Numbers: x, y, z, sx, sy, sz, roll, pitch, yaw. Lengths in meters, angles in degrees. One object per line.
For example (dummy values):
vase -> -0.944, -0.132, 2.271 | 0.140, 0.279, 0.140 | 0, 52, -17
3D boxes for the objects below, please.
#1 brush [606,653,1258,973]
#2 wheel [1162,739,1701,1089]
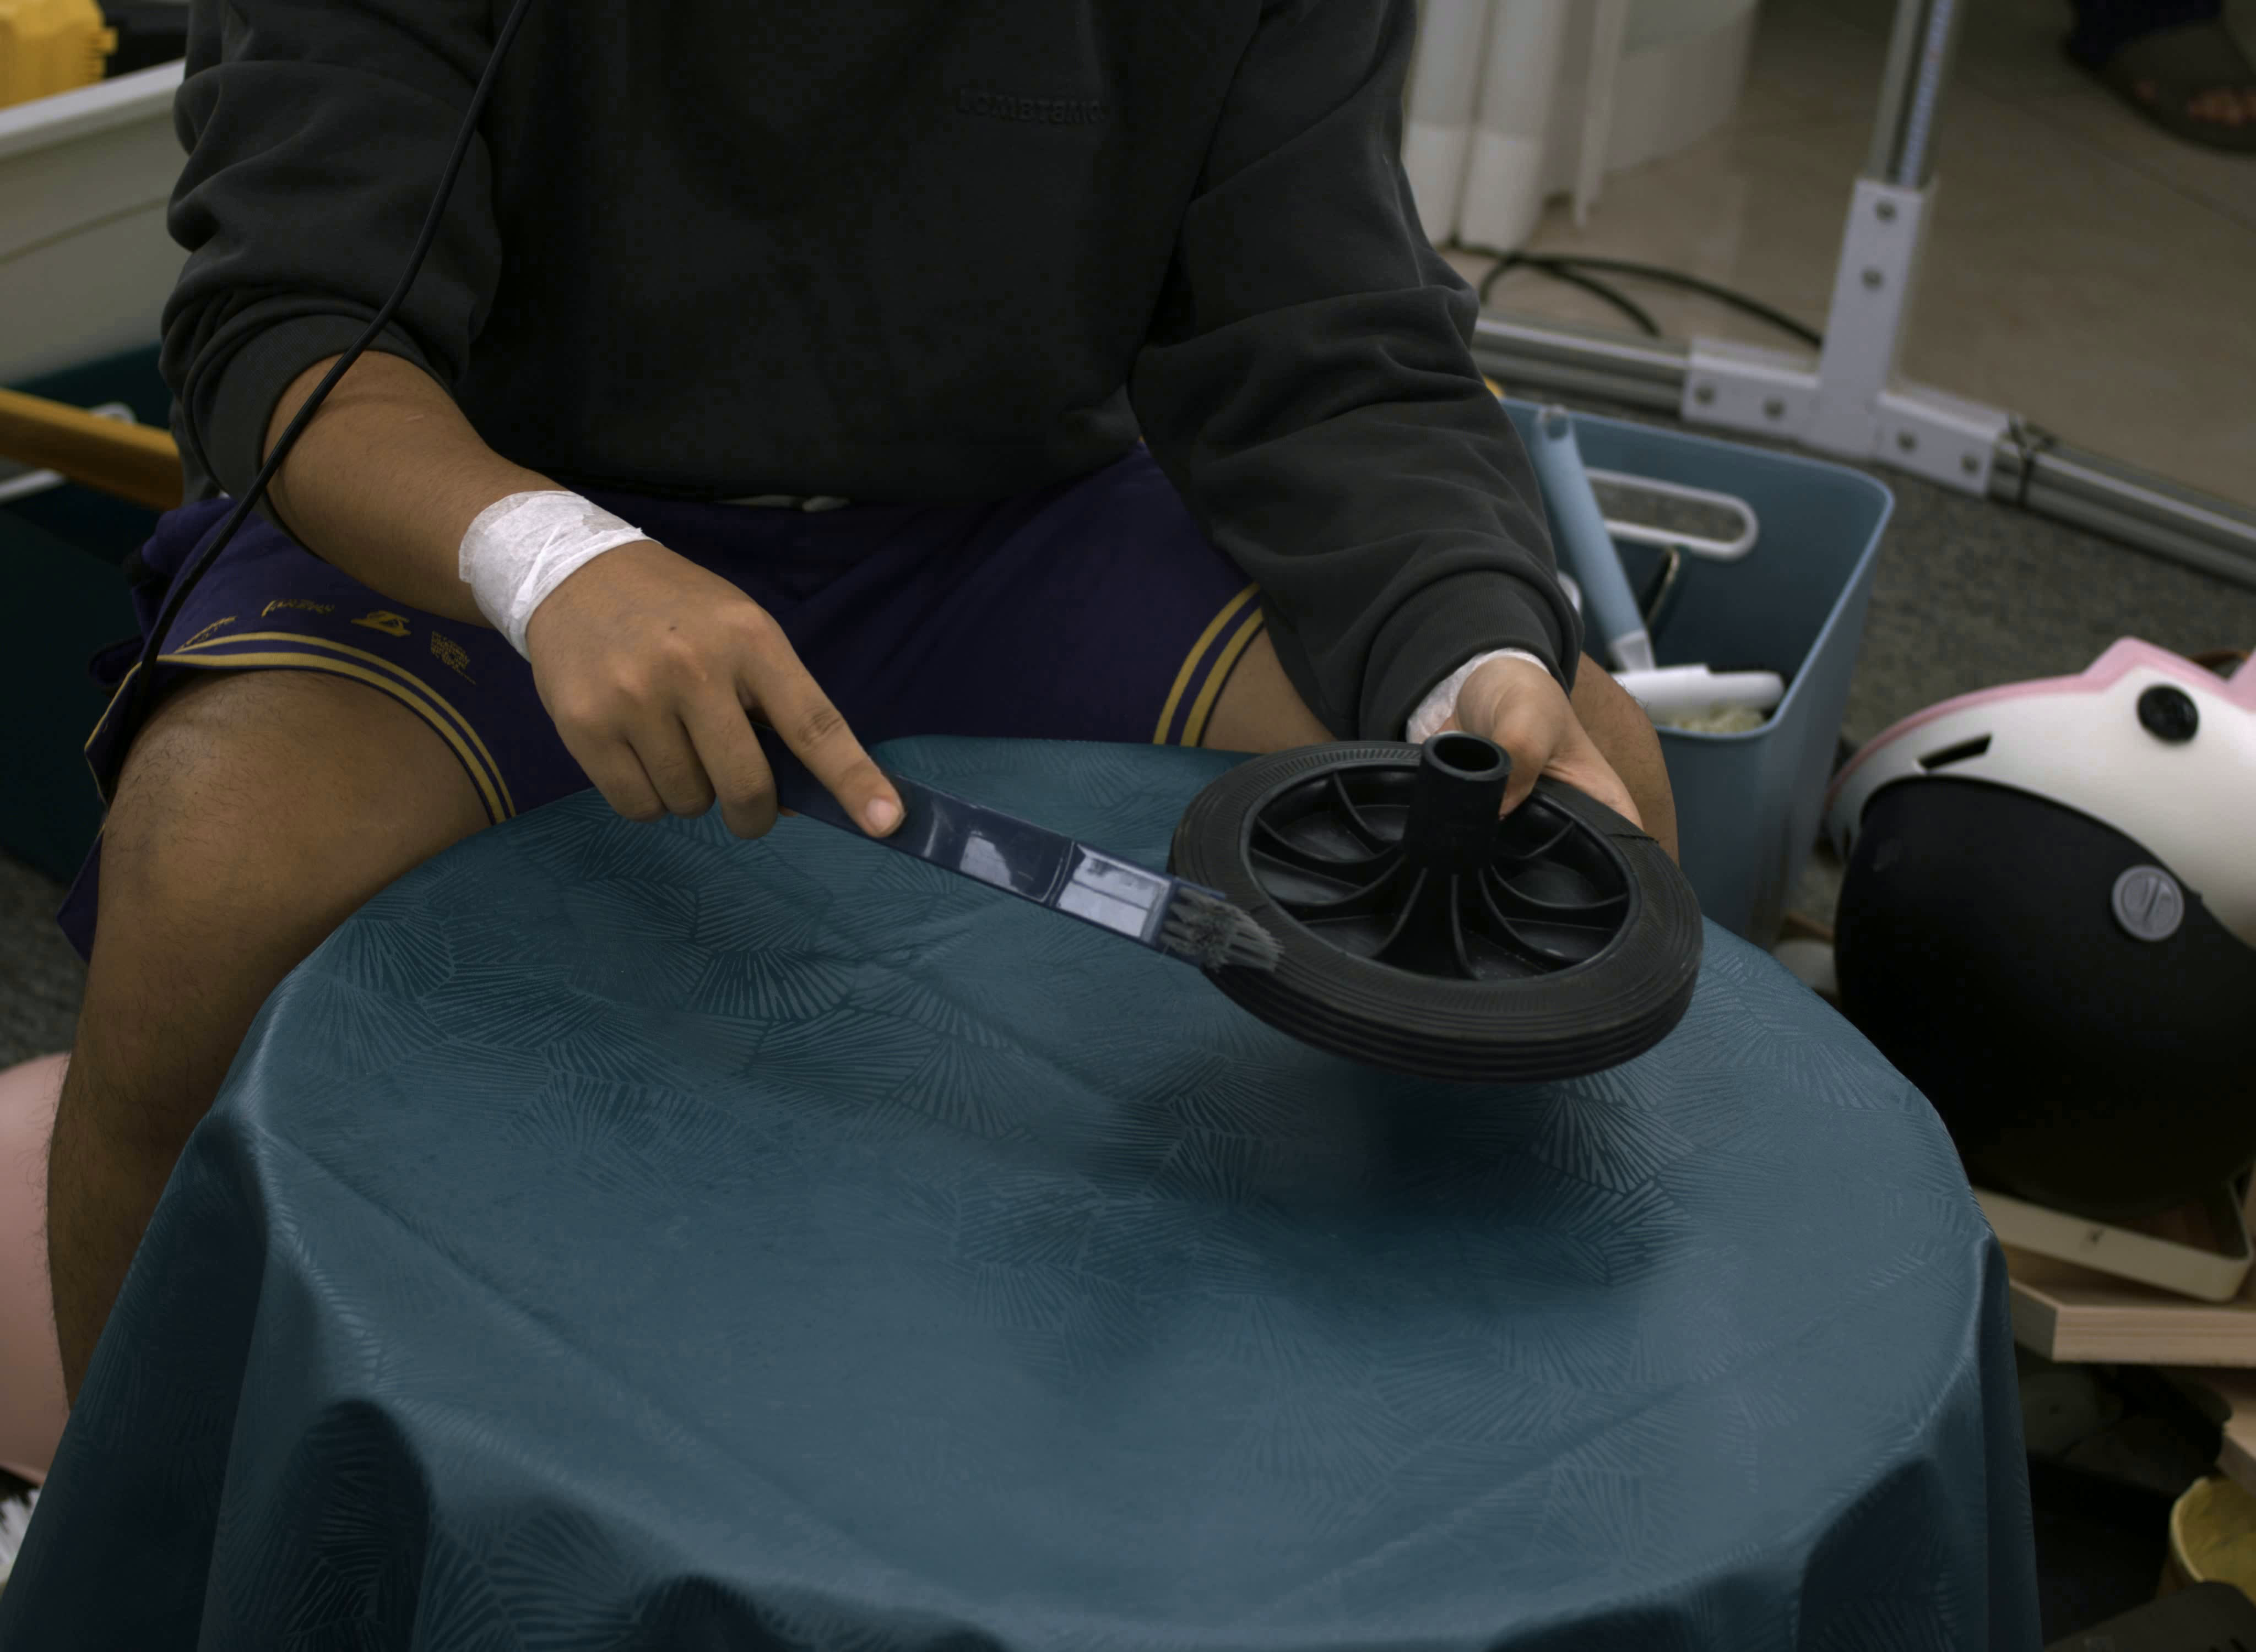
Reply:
brush -> -0.077, -0.005, 1.800 | 0.274, 0.033, 0.095 | 21, 3, 25
wheel -> 0.108, 0.012, 1.831 | 0.187, 0.079, 0.191 | 9, 30, 0
